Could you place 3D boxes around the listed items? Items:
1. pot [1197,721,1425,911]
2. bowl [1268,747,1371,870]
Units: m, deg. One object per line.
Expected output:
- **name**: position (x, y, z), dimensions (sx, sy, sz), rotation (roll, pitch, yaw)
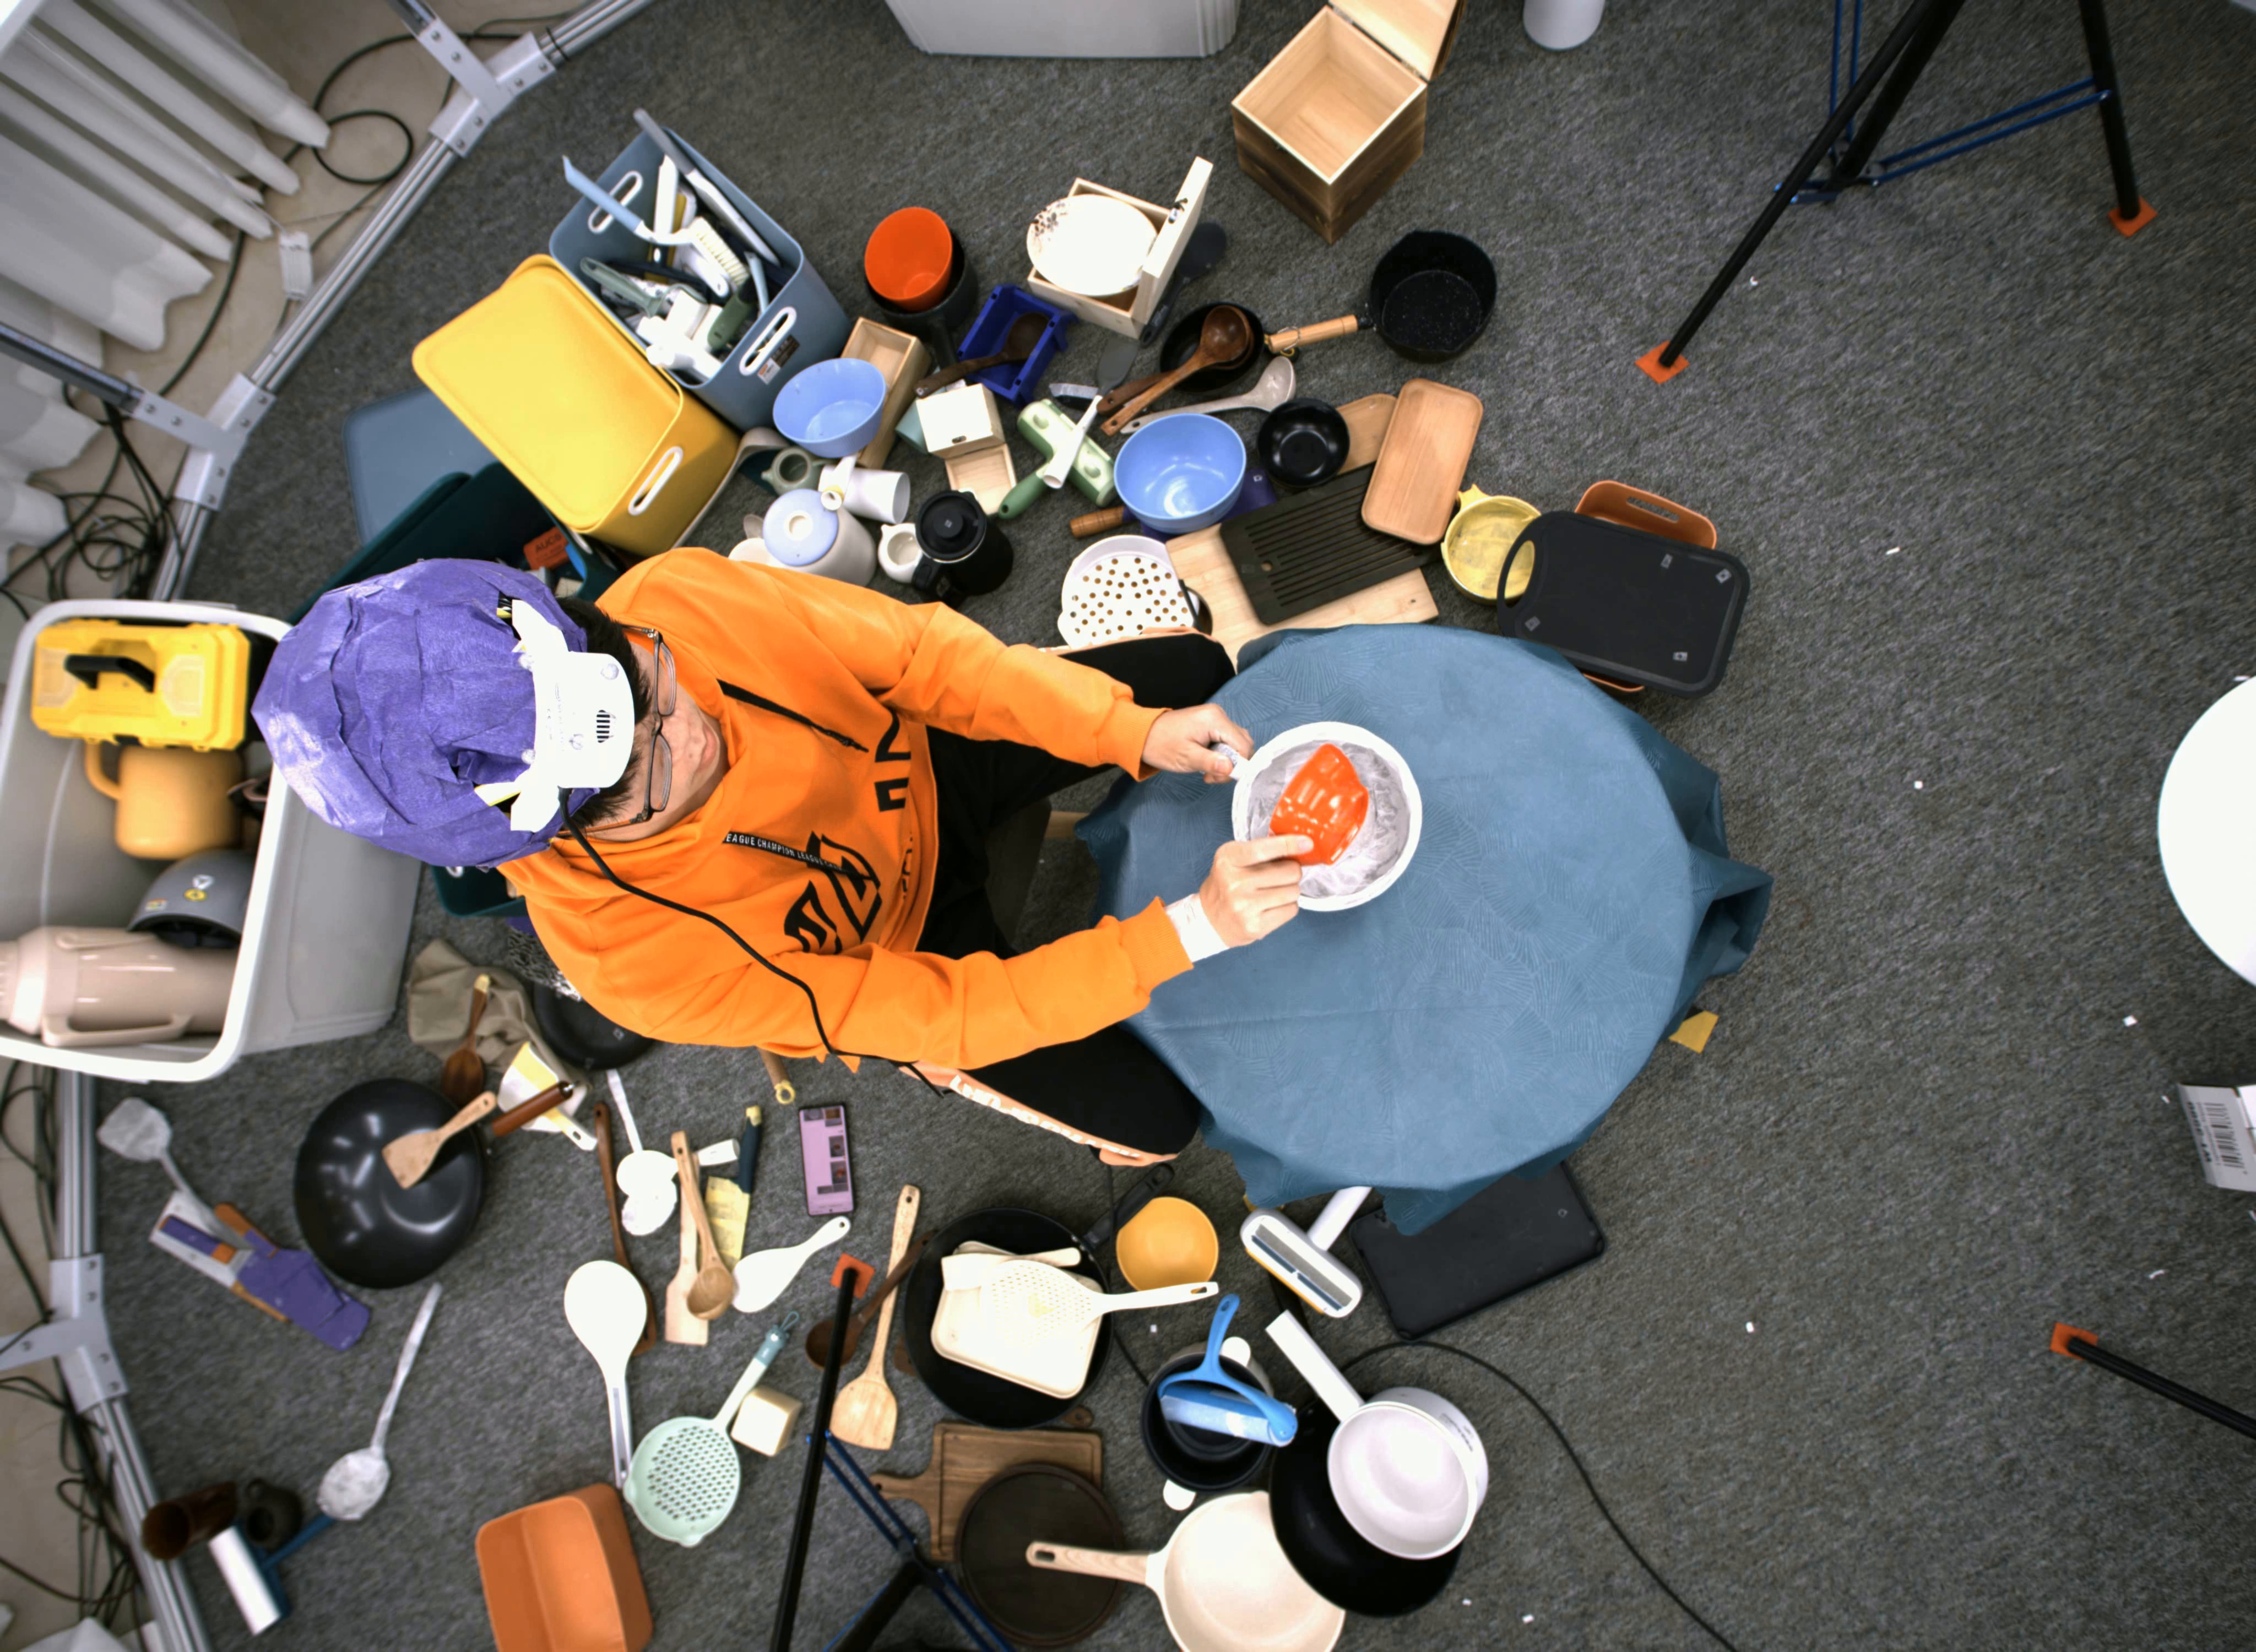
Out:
- **pot**: position (0.171, -0.020, 1.357), dimensions (0.233, 0.136, 0.179), rotation (29, 91, 8)
- **bowl**: position (0.175, -0.007, 1.218), dimensions (0.051, 0.119, 0.119), rotation (33, 91, 21)
